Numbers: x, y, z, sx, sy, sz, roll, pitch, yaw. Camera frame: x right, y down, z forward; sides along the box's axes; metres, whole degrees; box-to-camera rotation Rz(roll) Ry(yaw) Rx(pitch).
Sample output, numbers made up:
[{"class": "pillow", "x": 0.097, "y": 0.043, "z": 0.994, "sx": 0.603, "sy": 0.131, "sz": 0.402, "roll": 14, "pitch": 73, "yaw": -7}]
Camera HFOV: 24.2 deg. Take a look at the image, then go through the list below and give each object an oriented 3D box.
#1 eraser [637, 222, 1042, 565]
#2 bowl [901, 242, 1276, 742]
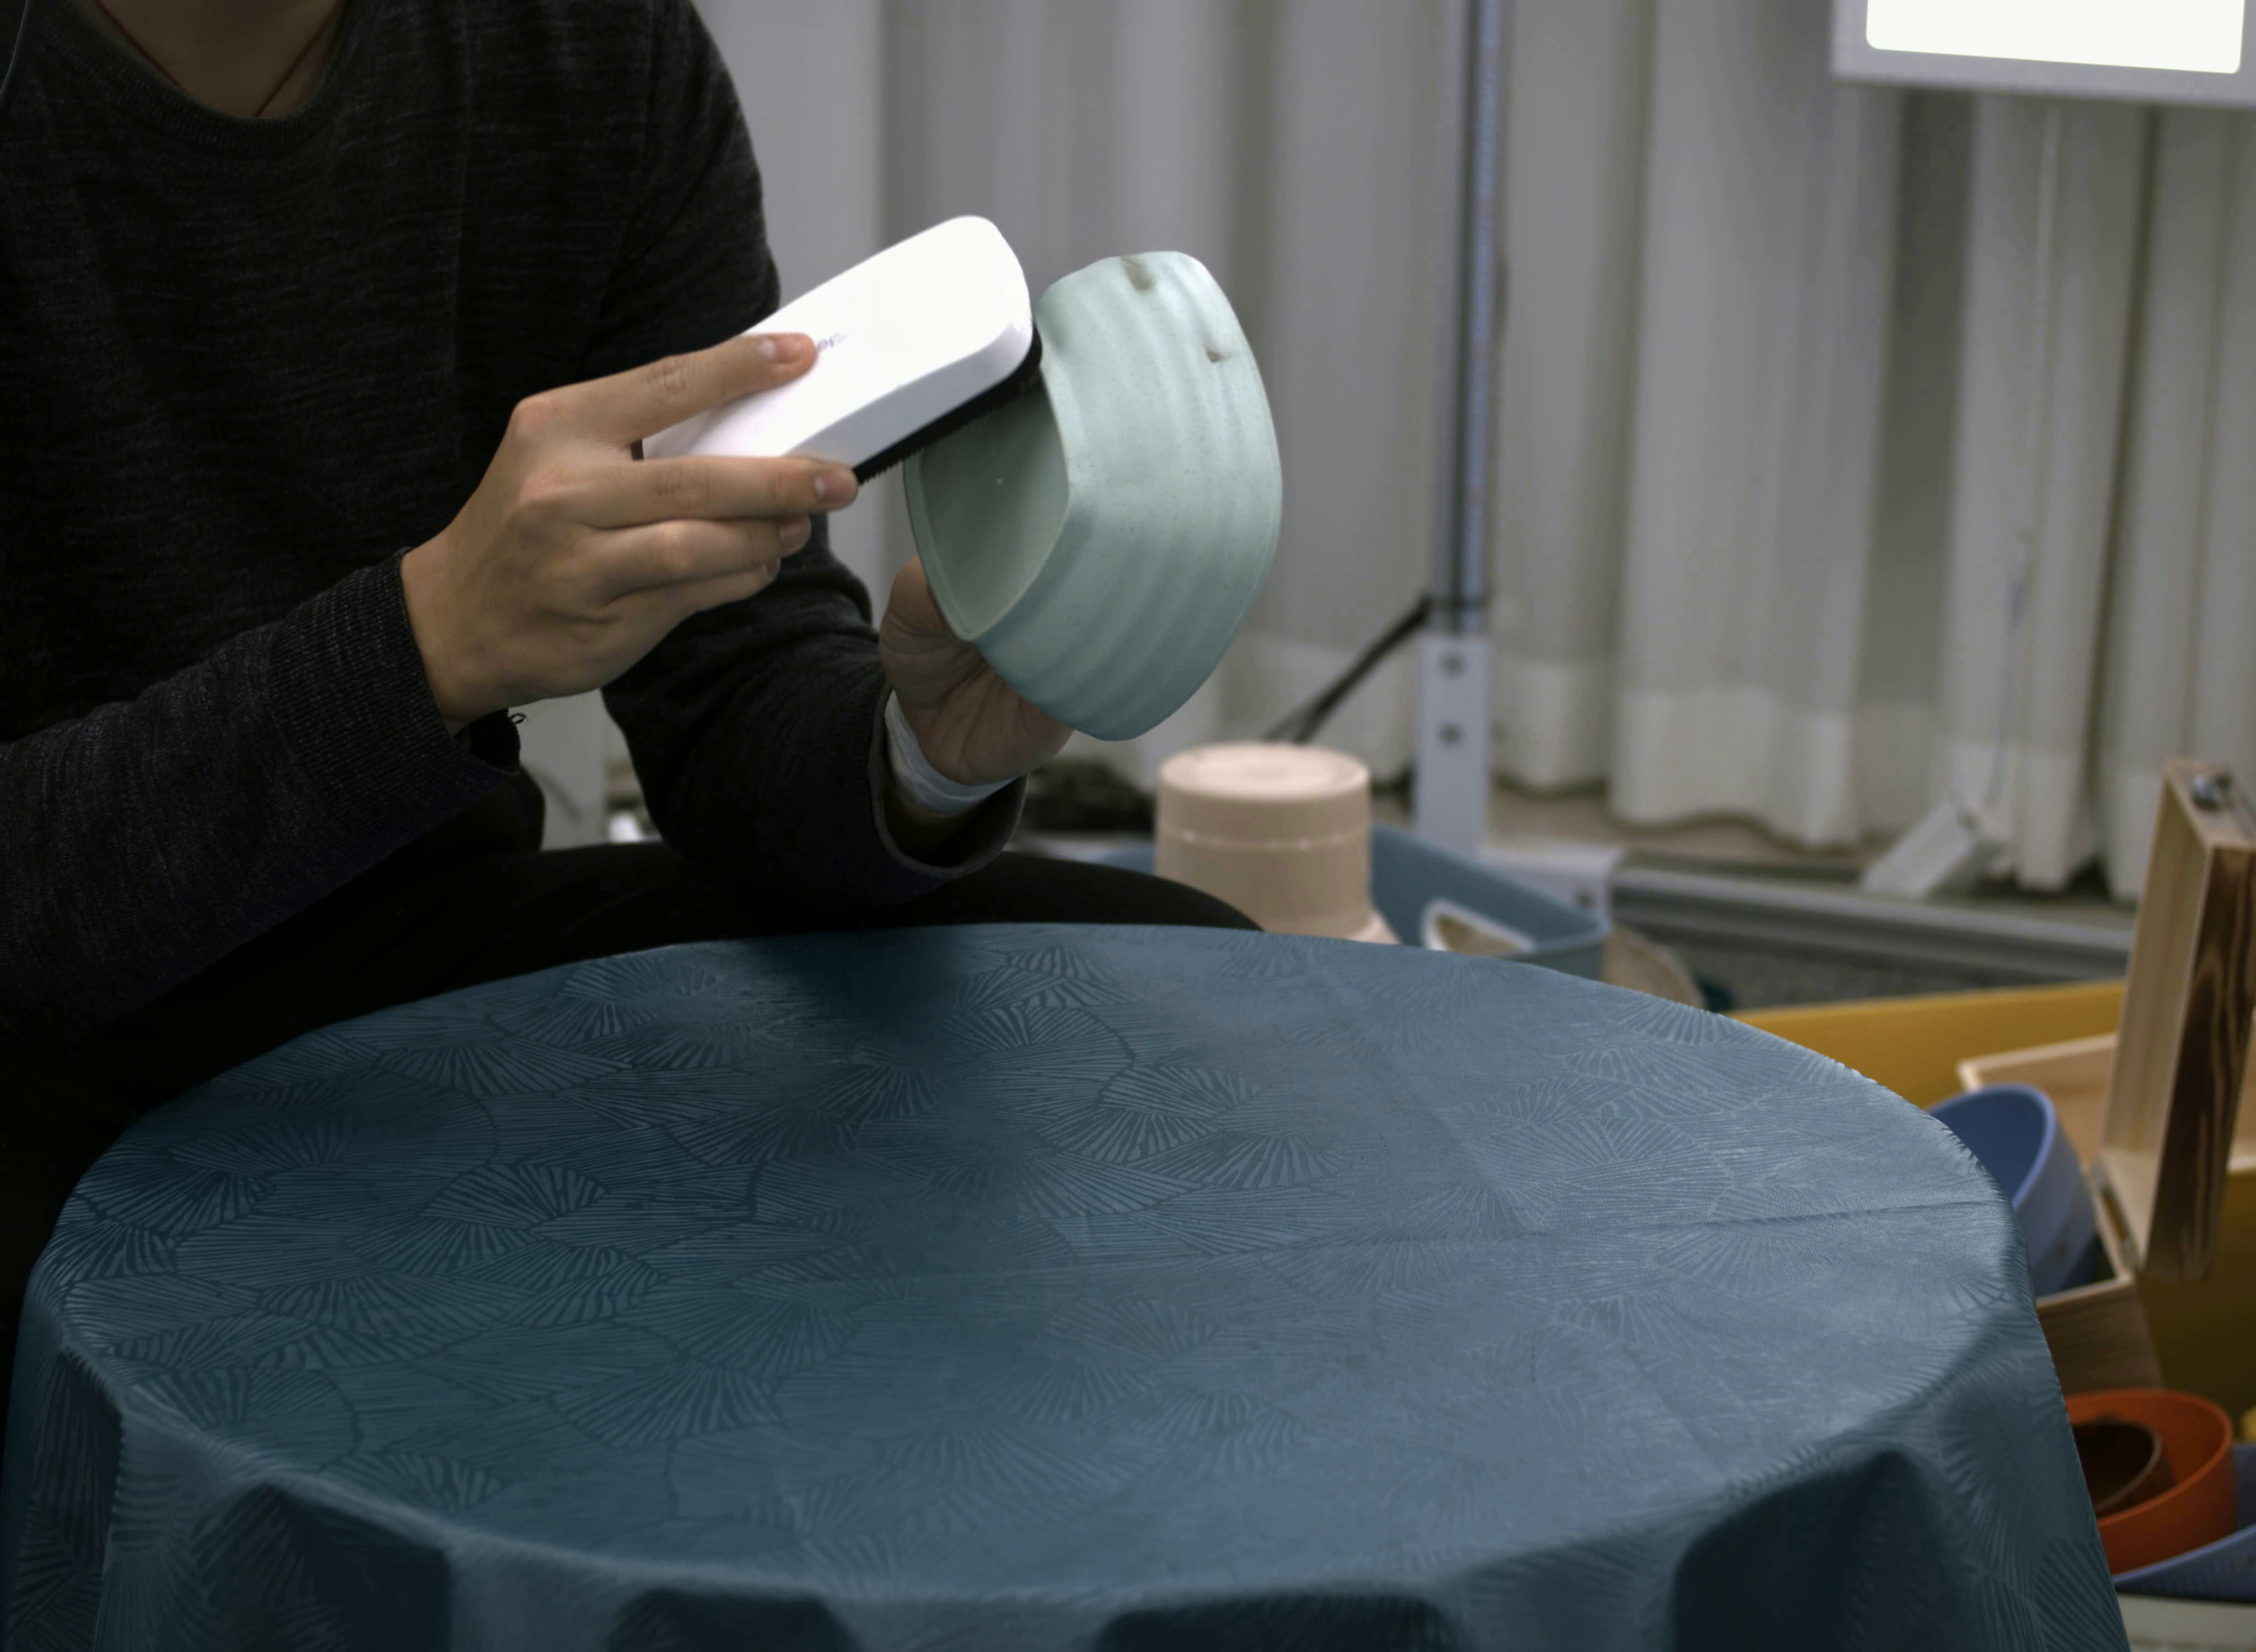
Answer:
[{"class": "eraser", "x": -0.088, "y": -0.130, "z": 1.557, "sx": 0.131, "sy": 0.035, "sz": 0.063, "roll": -27, "pitch": 44, "yaw": 17}, {"class": "bowl", "x": -0.020, "y": -0.102, "z": 1.579, "sx": 0.059, "sy": 0.152, "sz": 0.149, "roll": 1, "pitch": 13, "yaw": -32}]
